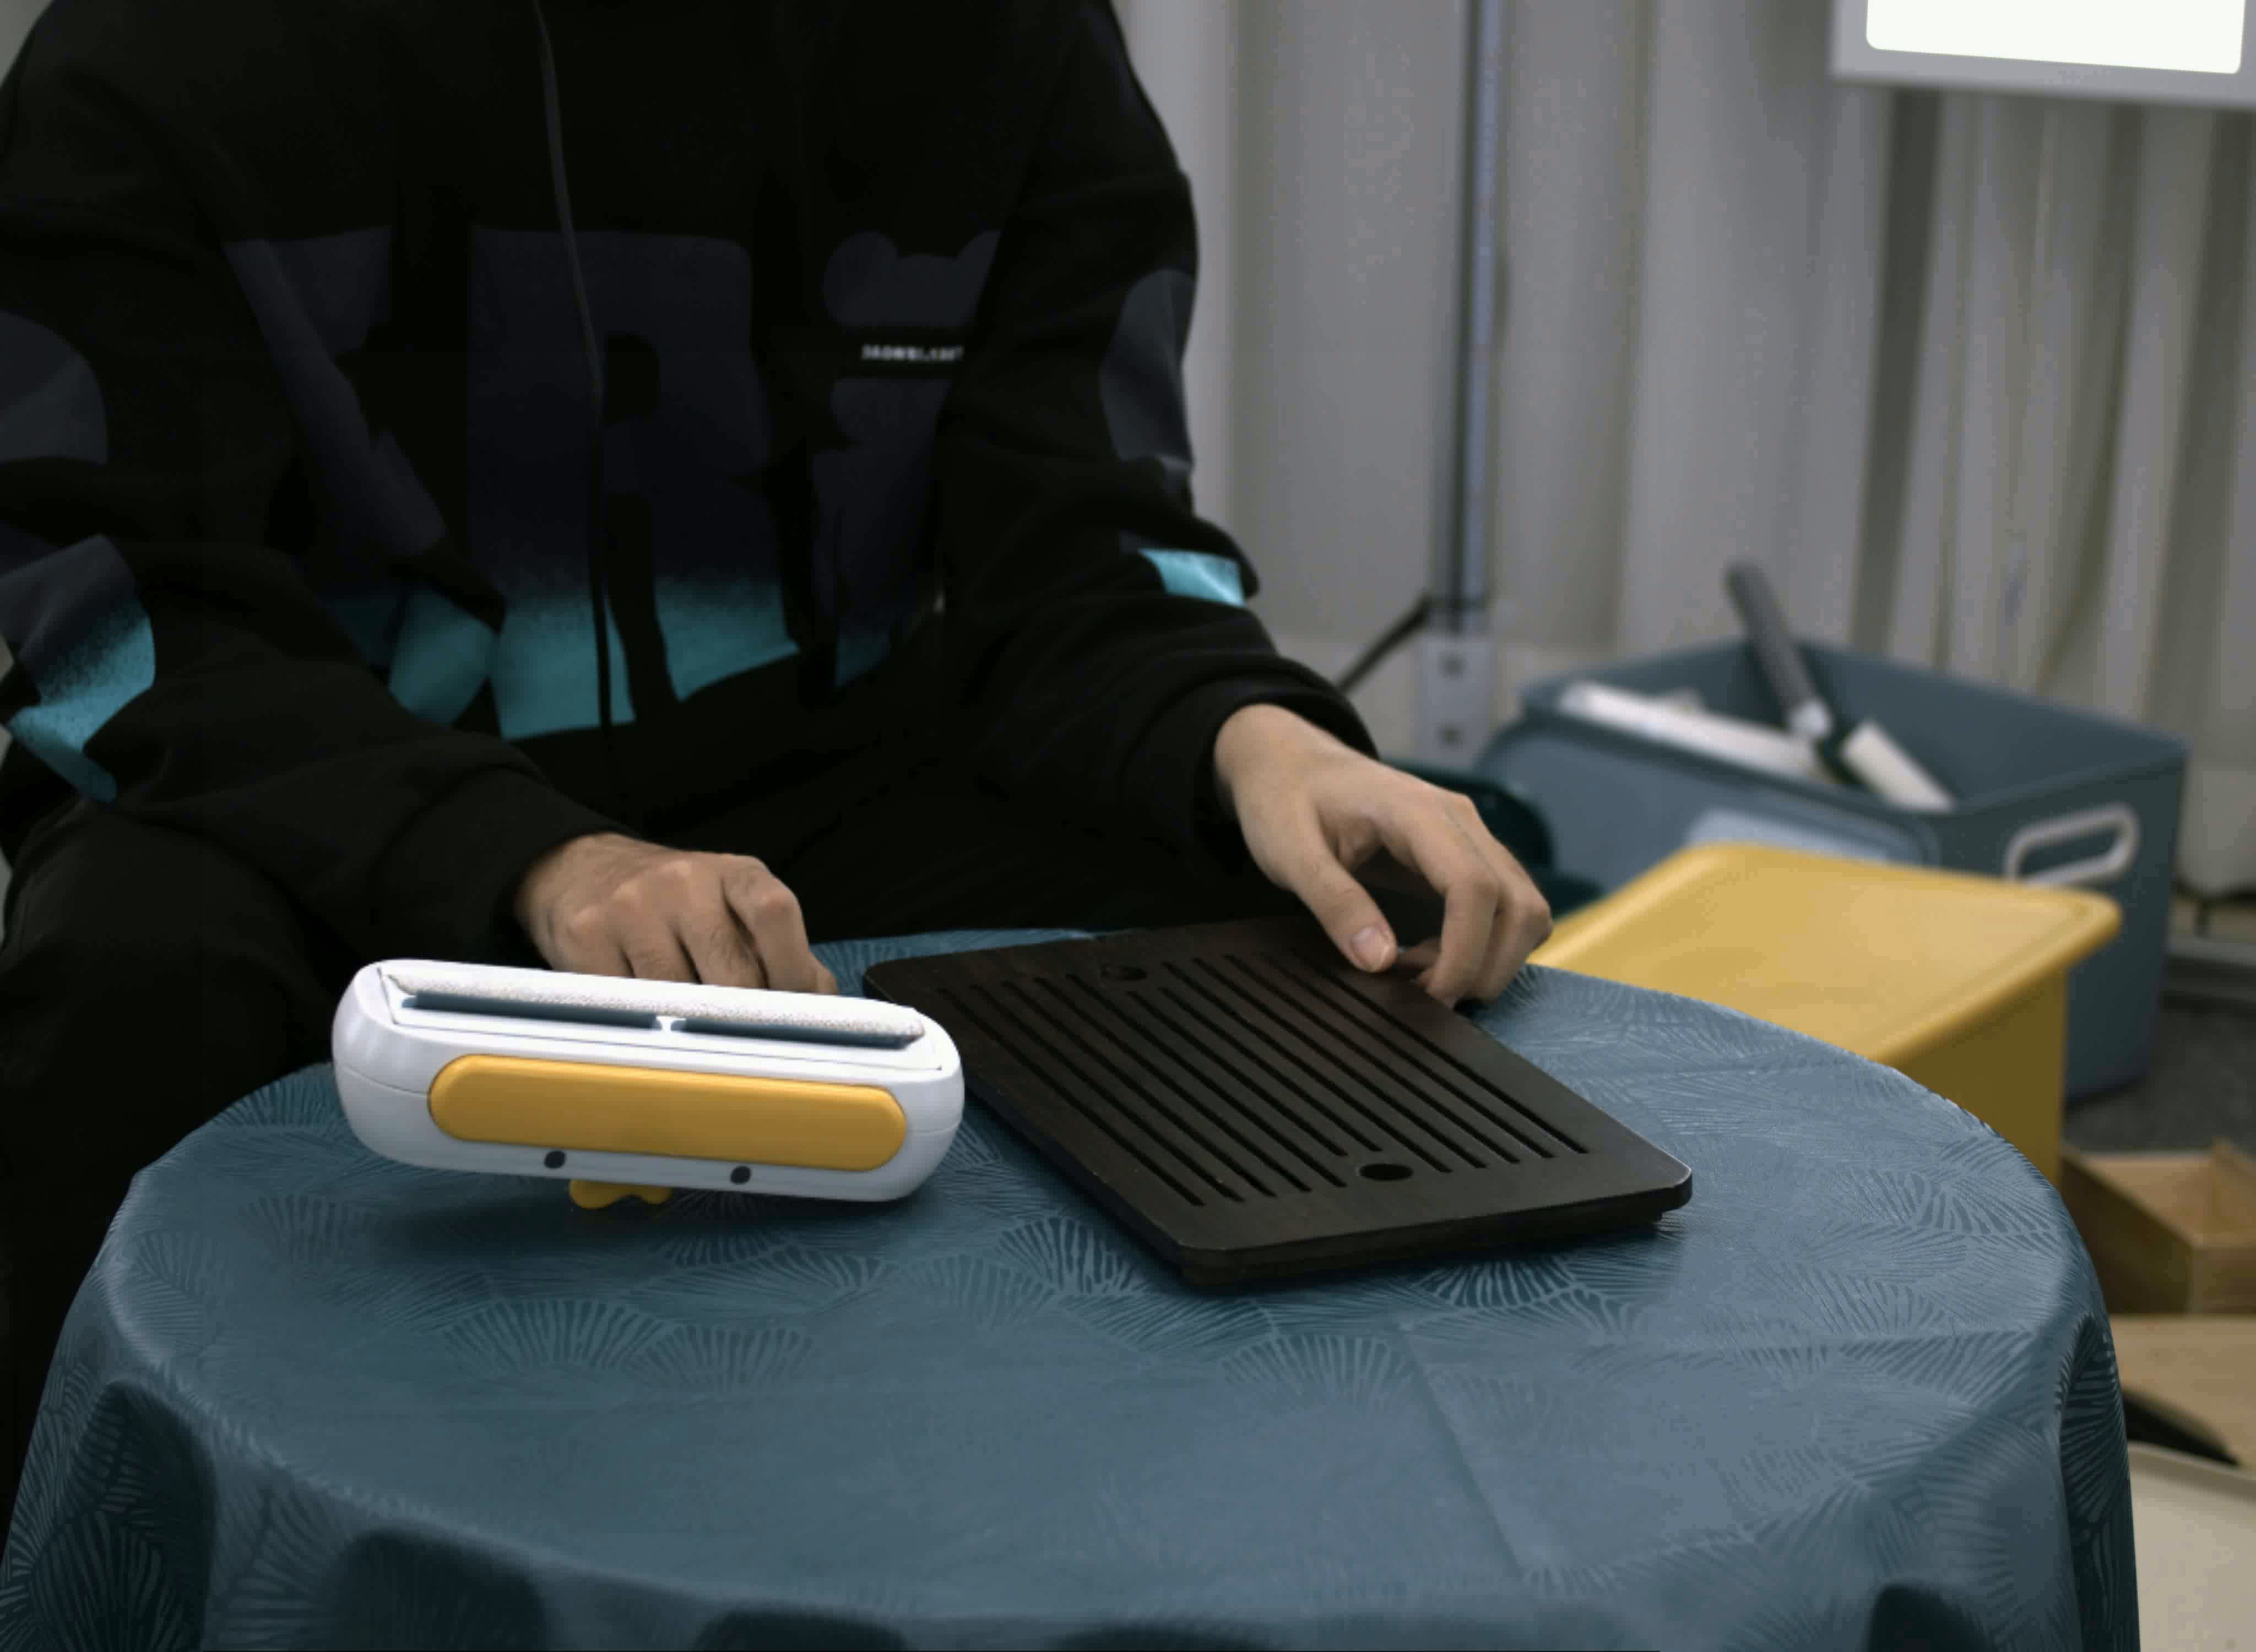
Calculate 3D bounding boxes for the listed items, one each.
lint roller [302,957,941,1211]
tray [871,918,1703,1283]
[{"bbox_3d":[-0.164,0.070,1.642,0.193,0.074,0.191,2,13,-14],"label":"lint roller"},{"bbox_3d":[0.043,0.084,1.688,0.170,0.019,0.302,-6,17,-21],"label":"tray"}]
